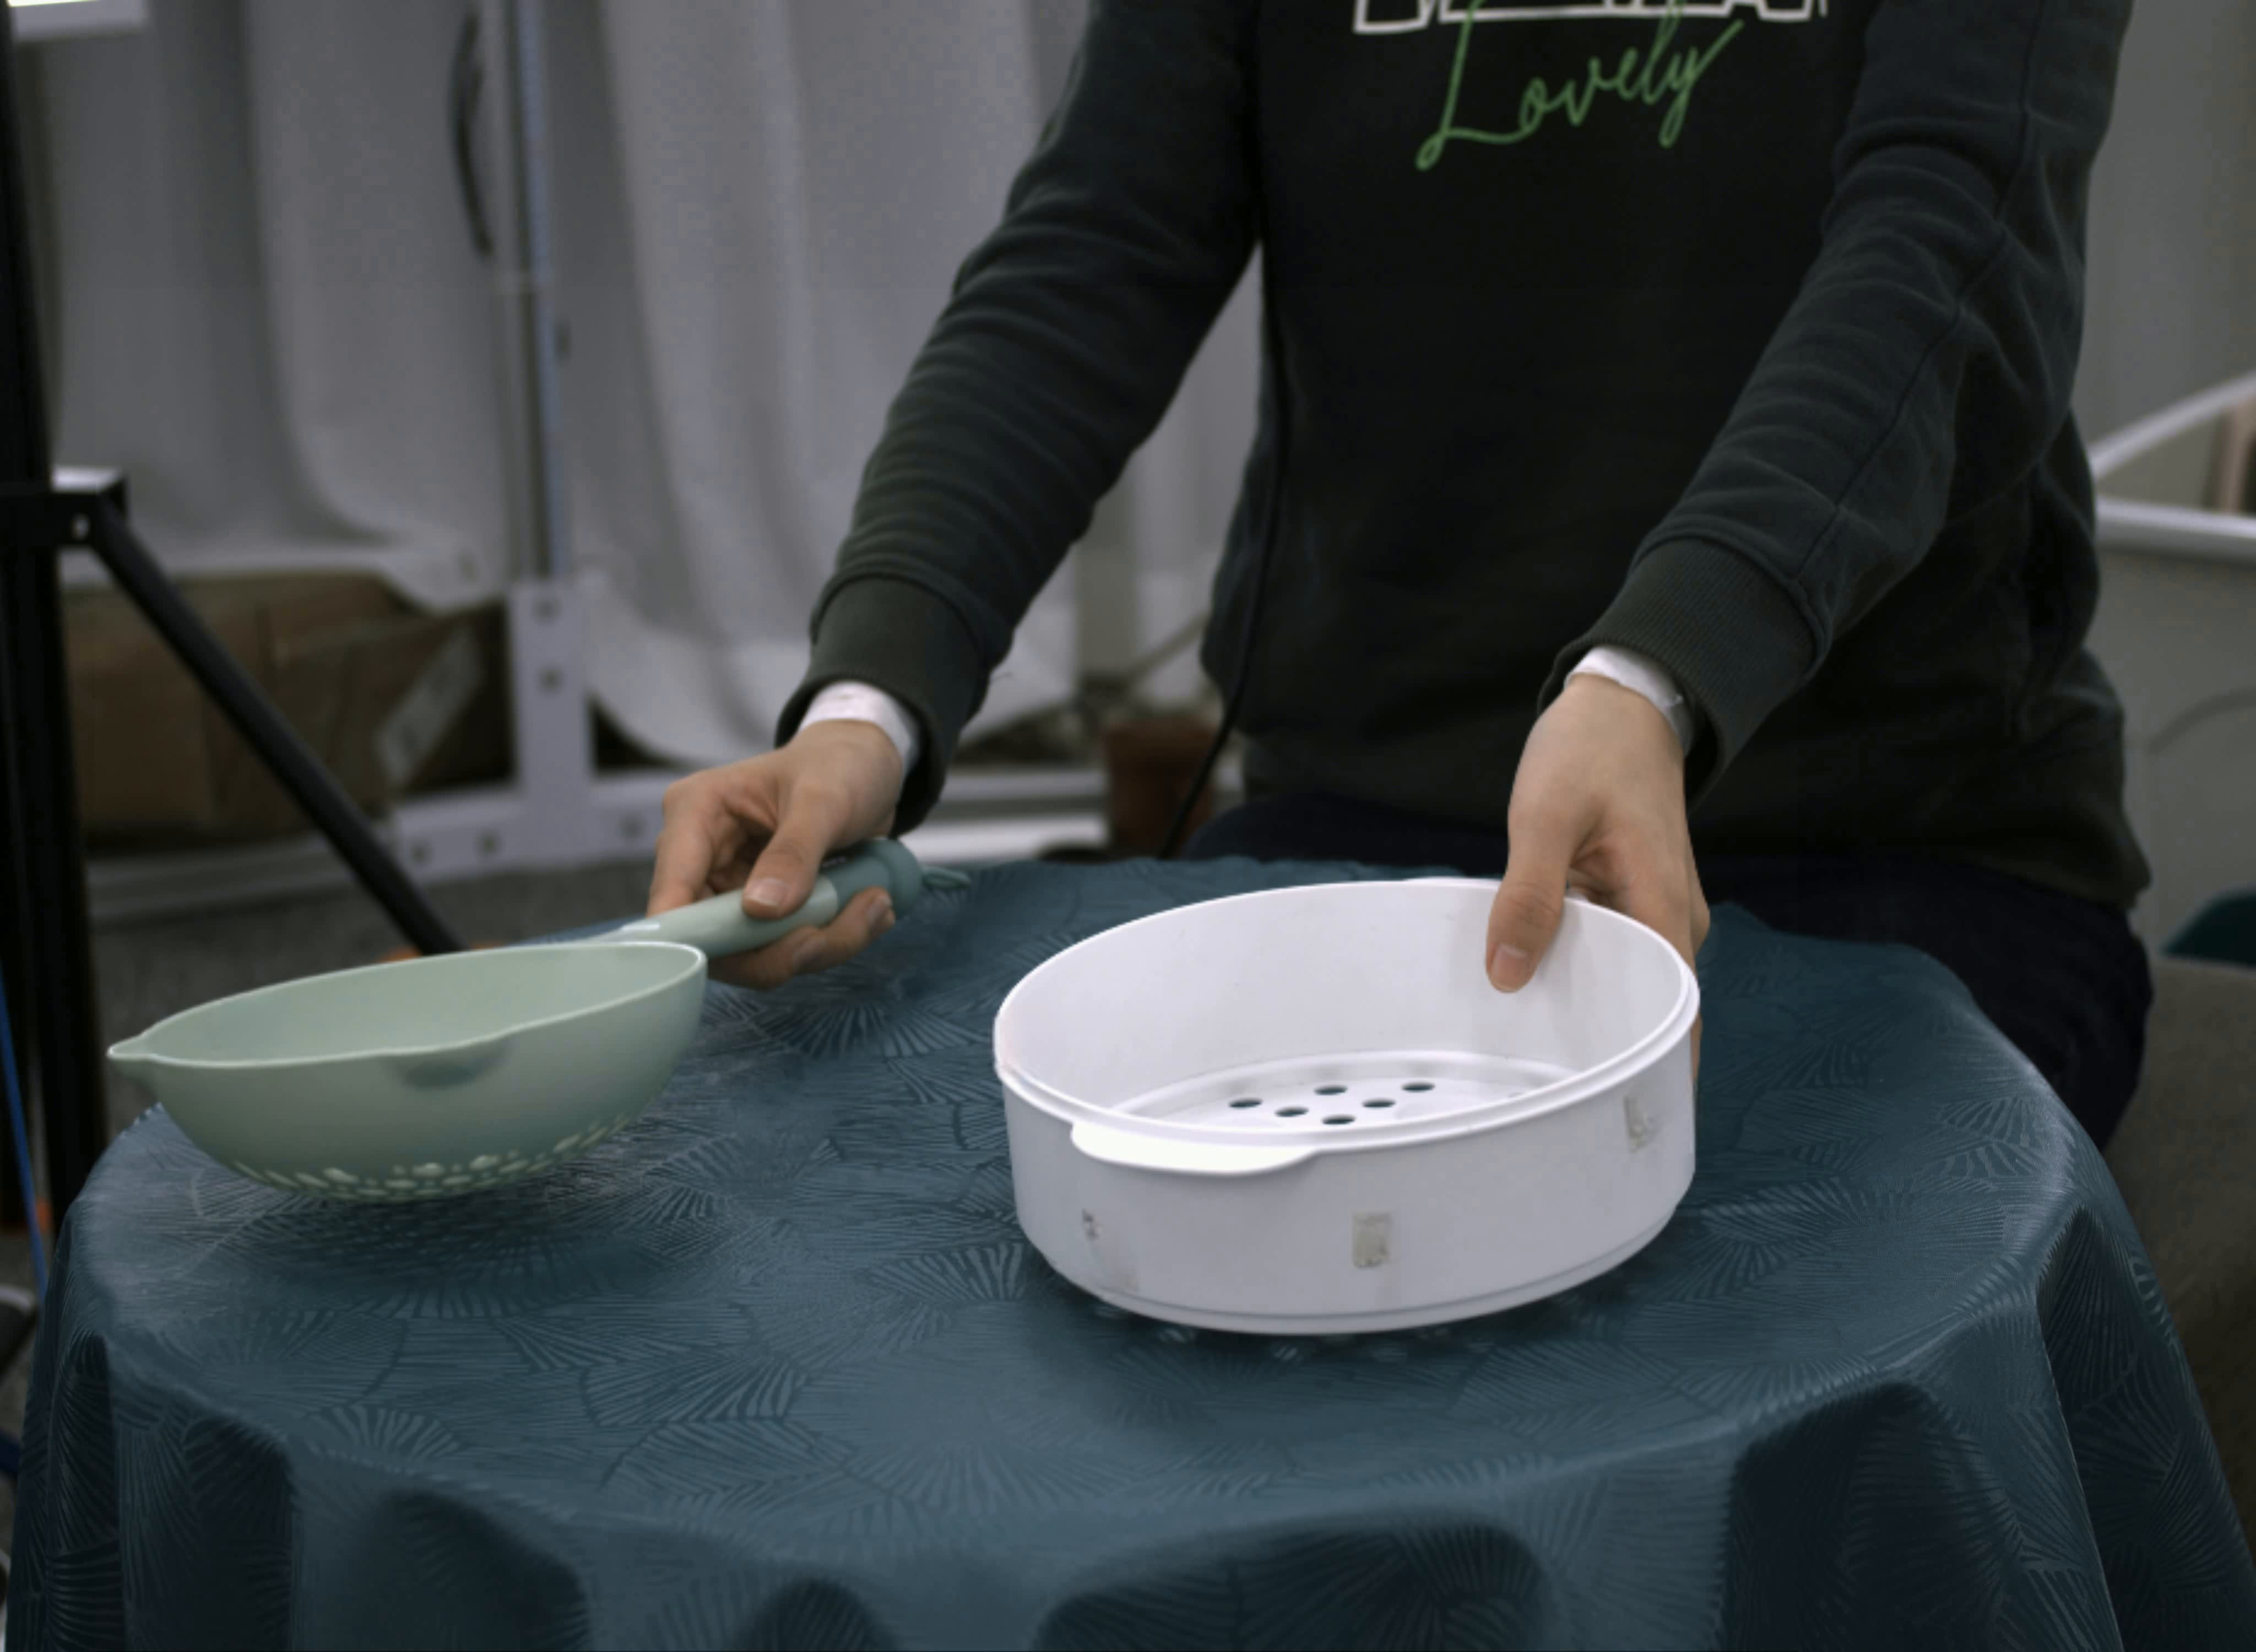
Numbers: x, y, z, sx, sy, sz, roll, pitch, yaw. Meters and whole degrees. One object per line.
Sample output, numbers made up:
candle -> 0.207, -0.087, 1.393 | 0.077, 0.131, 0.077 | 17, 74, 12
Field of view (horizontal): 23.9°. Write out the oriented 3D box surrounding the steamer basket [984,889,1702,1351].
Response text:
steamer basket -> 0.061, 0.083, 1.492 | 0.205, 0.069, 0.227 | 5, 21, 27

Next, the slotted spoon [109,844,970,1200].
slotted spoon -> -0.154, 0.045, 1.652 | 0.172, 0.075, 0.353 | -2, 17, 33
